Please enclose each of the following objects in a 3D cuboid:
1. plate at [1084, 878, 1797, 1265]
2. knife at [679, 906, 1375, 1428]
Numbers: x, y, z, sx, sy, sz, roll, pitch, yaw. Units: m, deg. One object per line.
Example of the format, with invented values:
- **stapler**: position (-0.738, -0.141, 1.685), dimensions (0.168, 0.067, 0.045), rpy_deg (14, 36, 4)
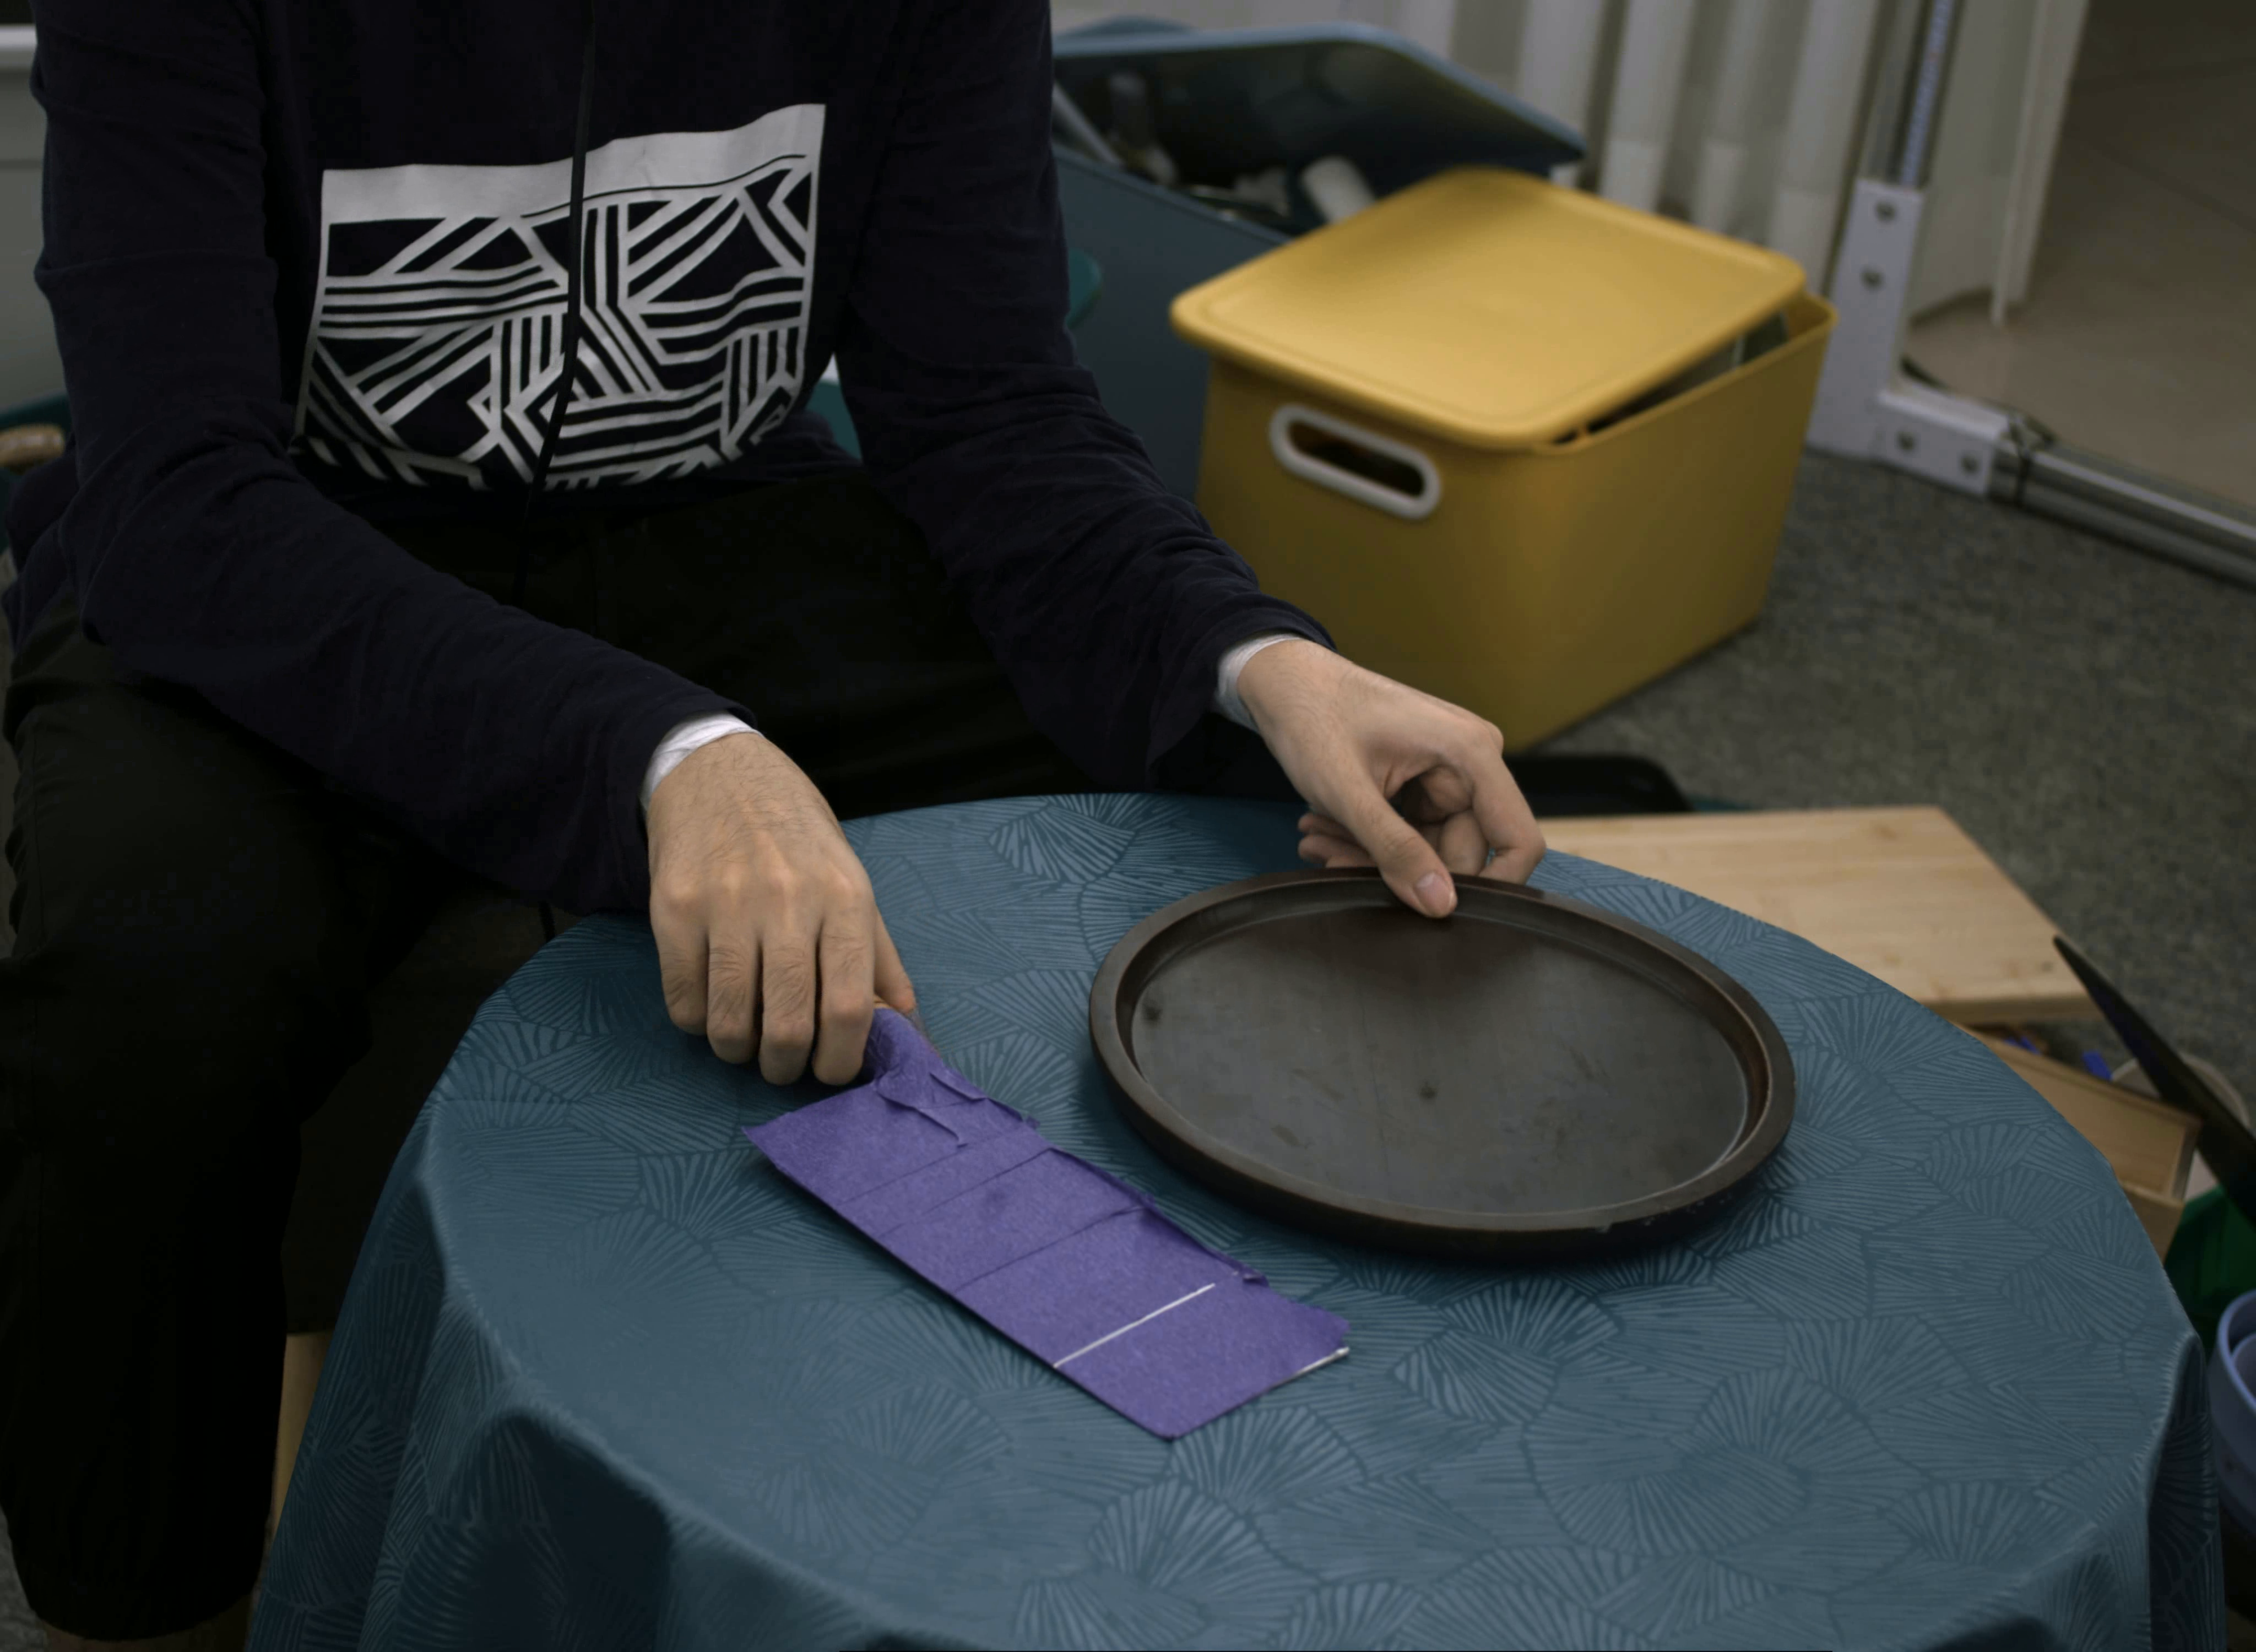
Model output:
- **plate**: position (0.109, 0.084, 1.880), dimensions (0.254, 0.029, 0.256), rpy_deg (5, 28, -3)
- **knife**: position (-0.062, 0.111, 1.787), dimensions (0.103, 0.032, 0.318), rpy_deg (-19, 37, -41)
